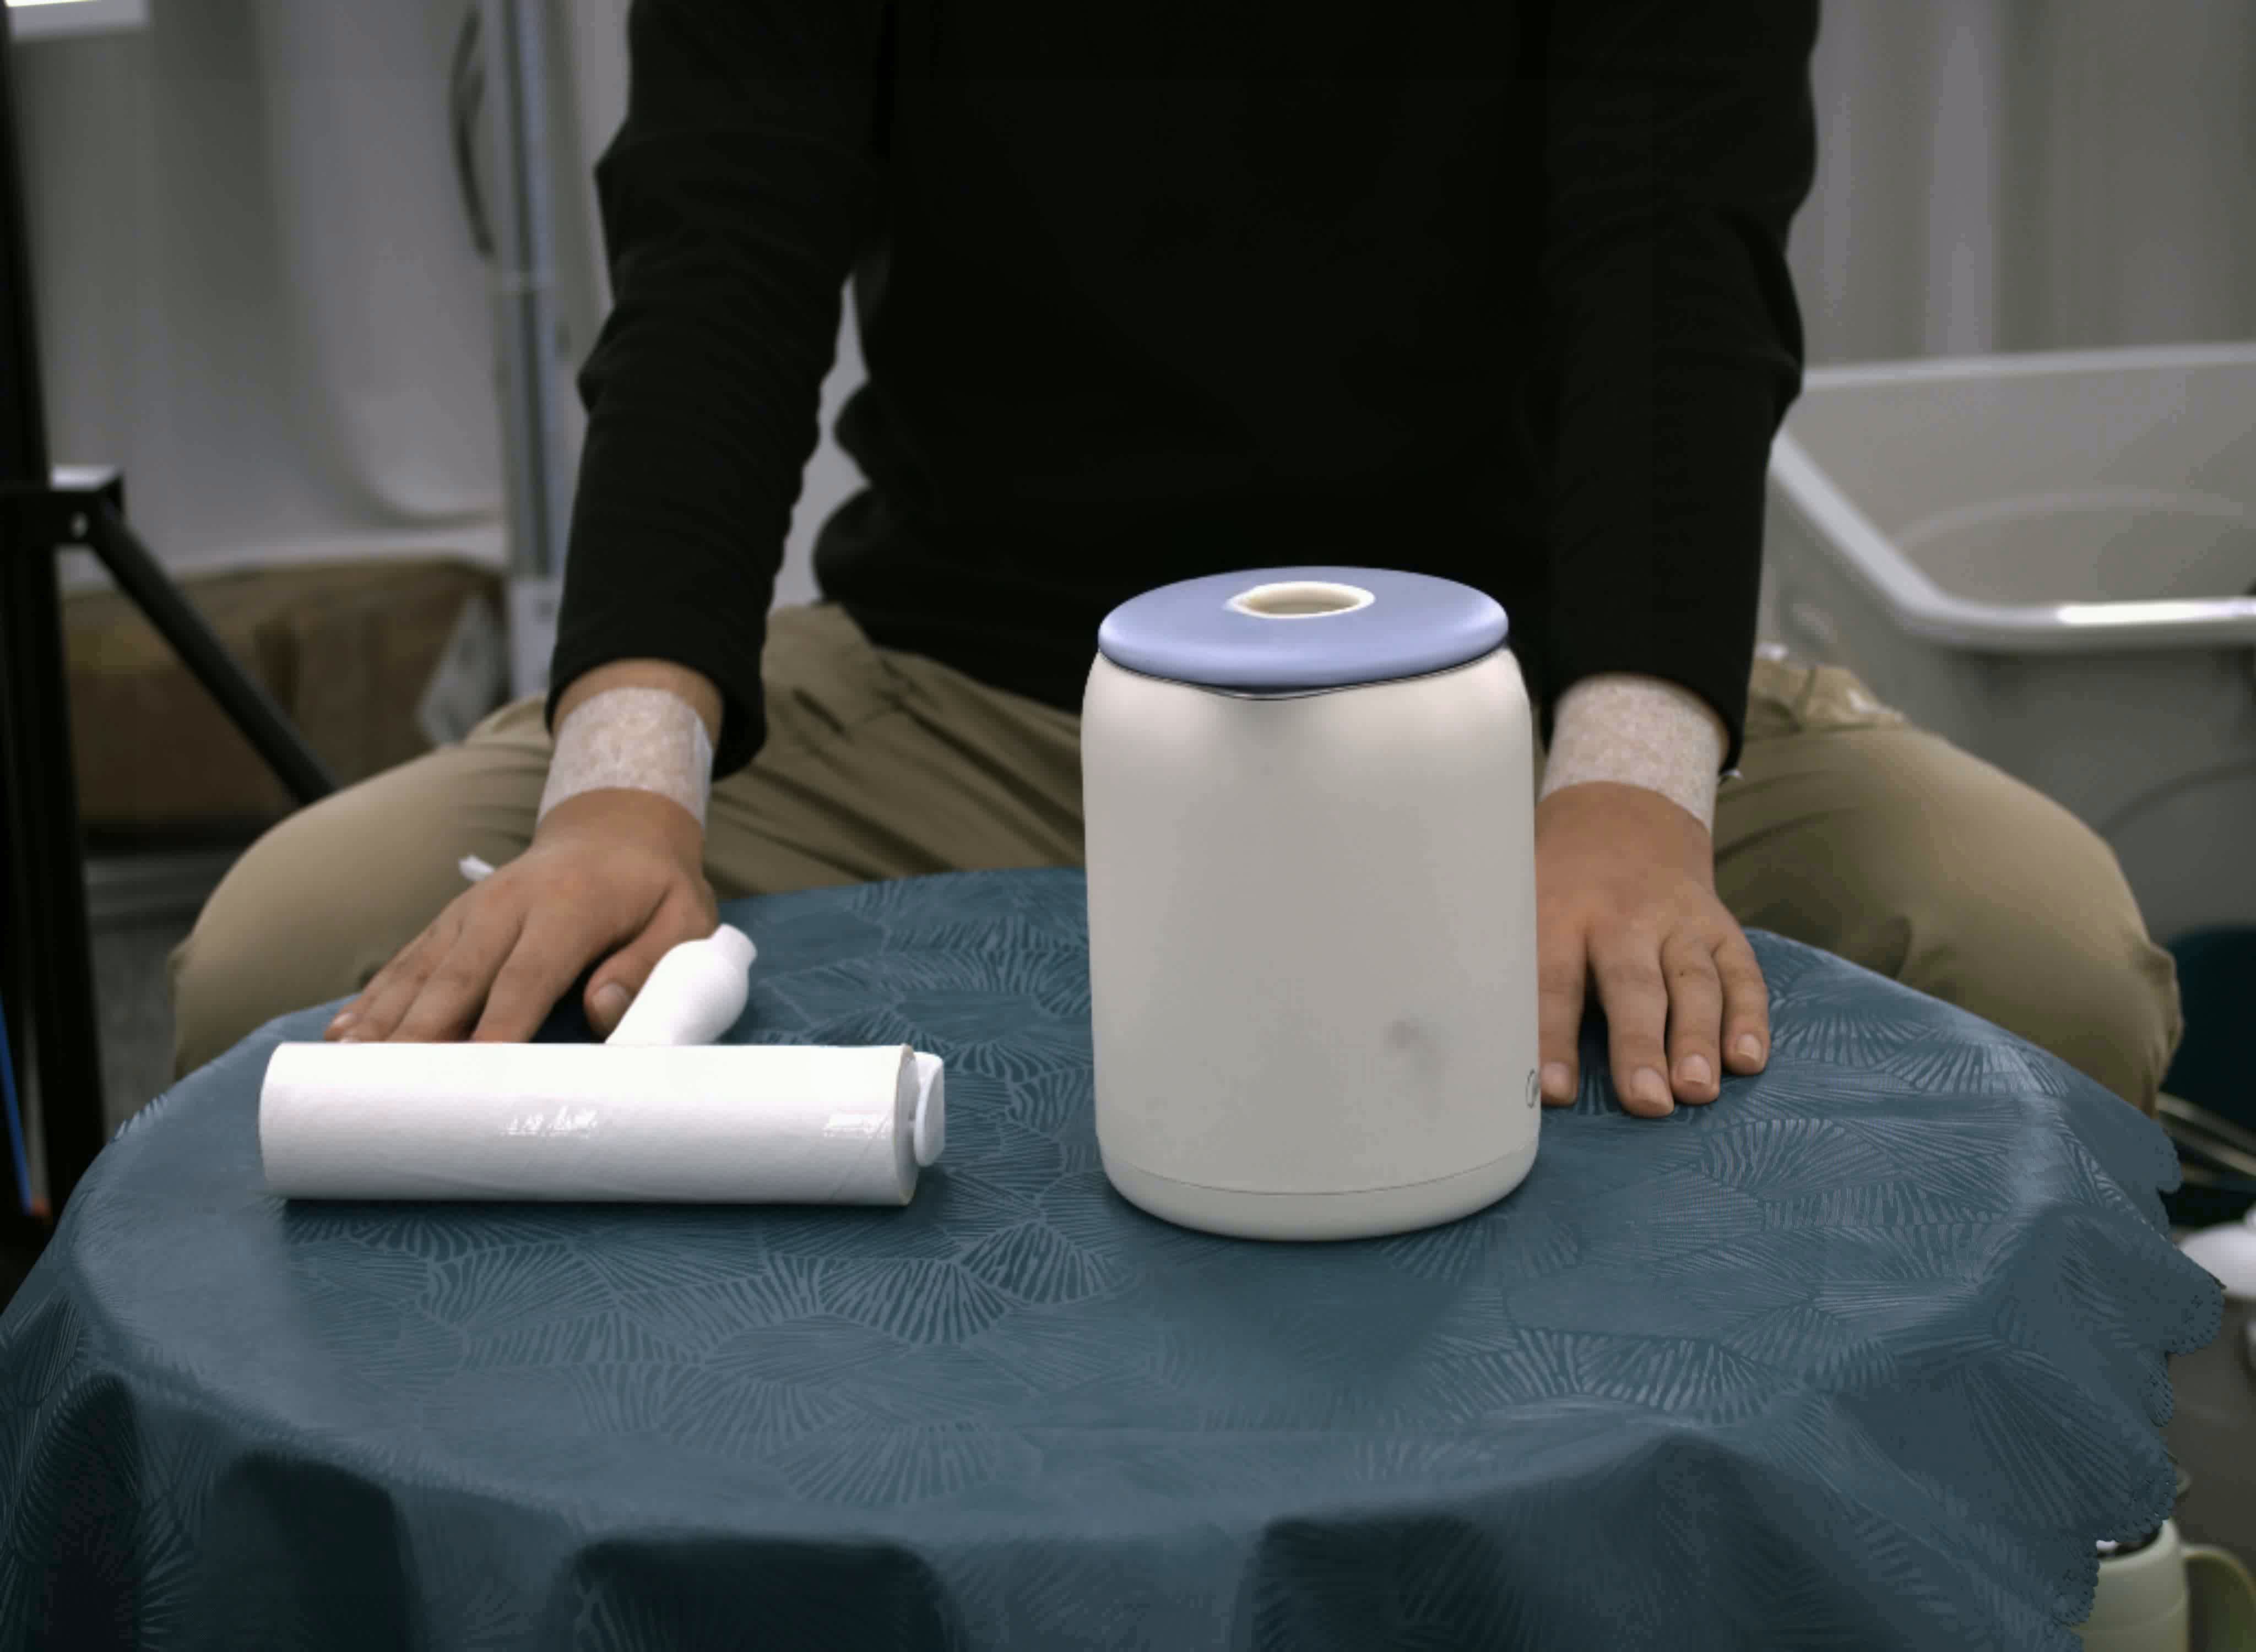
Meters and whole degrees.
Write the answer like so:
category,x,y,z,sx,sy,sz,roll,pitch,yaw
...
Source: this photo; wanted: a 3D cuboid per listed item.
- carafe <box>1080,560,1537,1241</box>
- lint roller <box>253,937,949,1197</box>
category,x,y,z,sx,sy,sz,roll,pitch,yaw
carafe,0.057,0.015,1.564,0.133,0.182,0.190,1,13,10
lint roller,-0.147,0.064,1.657,0.203,0.048,0.225,-1,15,8
